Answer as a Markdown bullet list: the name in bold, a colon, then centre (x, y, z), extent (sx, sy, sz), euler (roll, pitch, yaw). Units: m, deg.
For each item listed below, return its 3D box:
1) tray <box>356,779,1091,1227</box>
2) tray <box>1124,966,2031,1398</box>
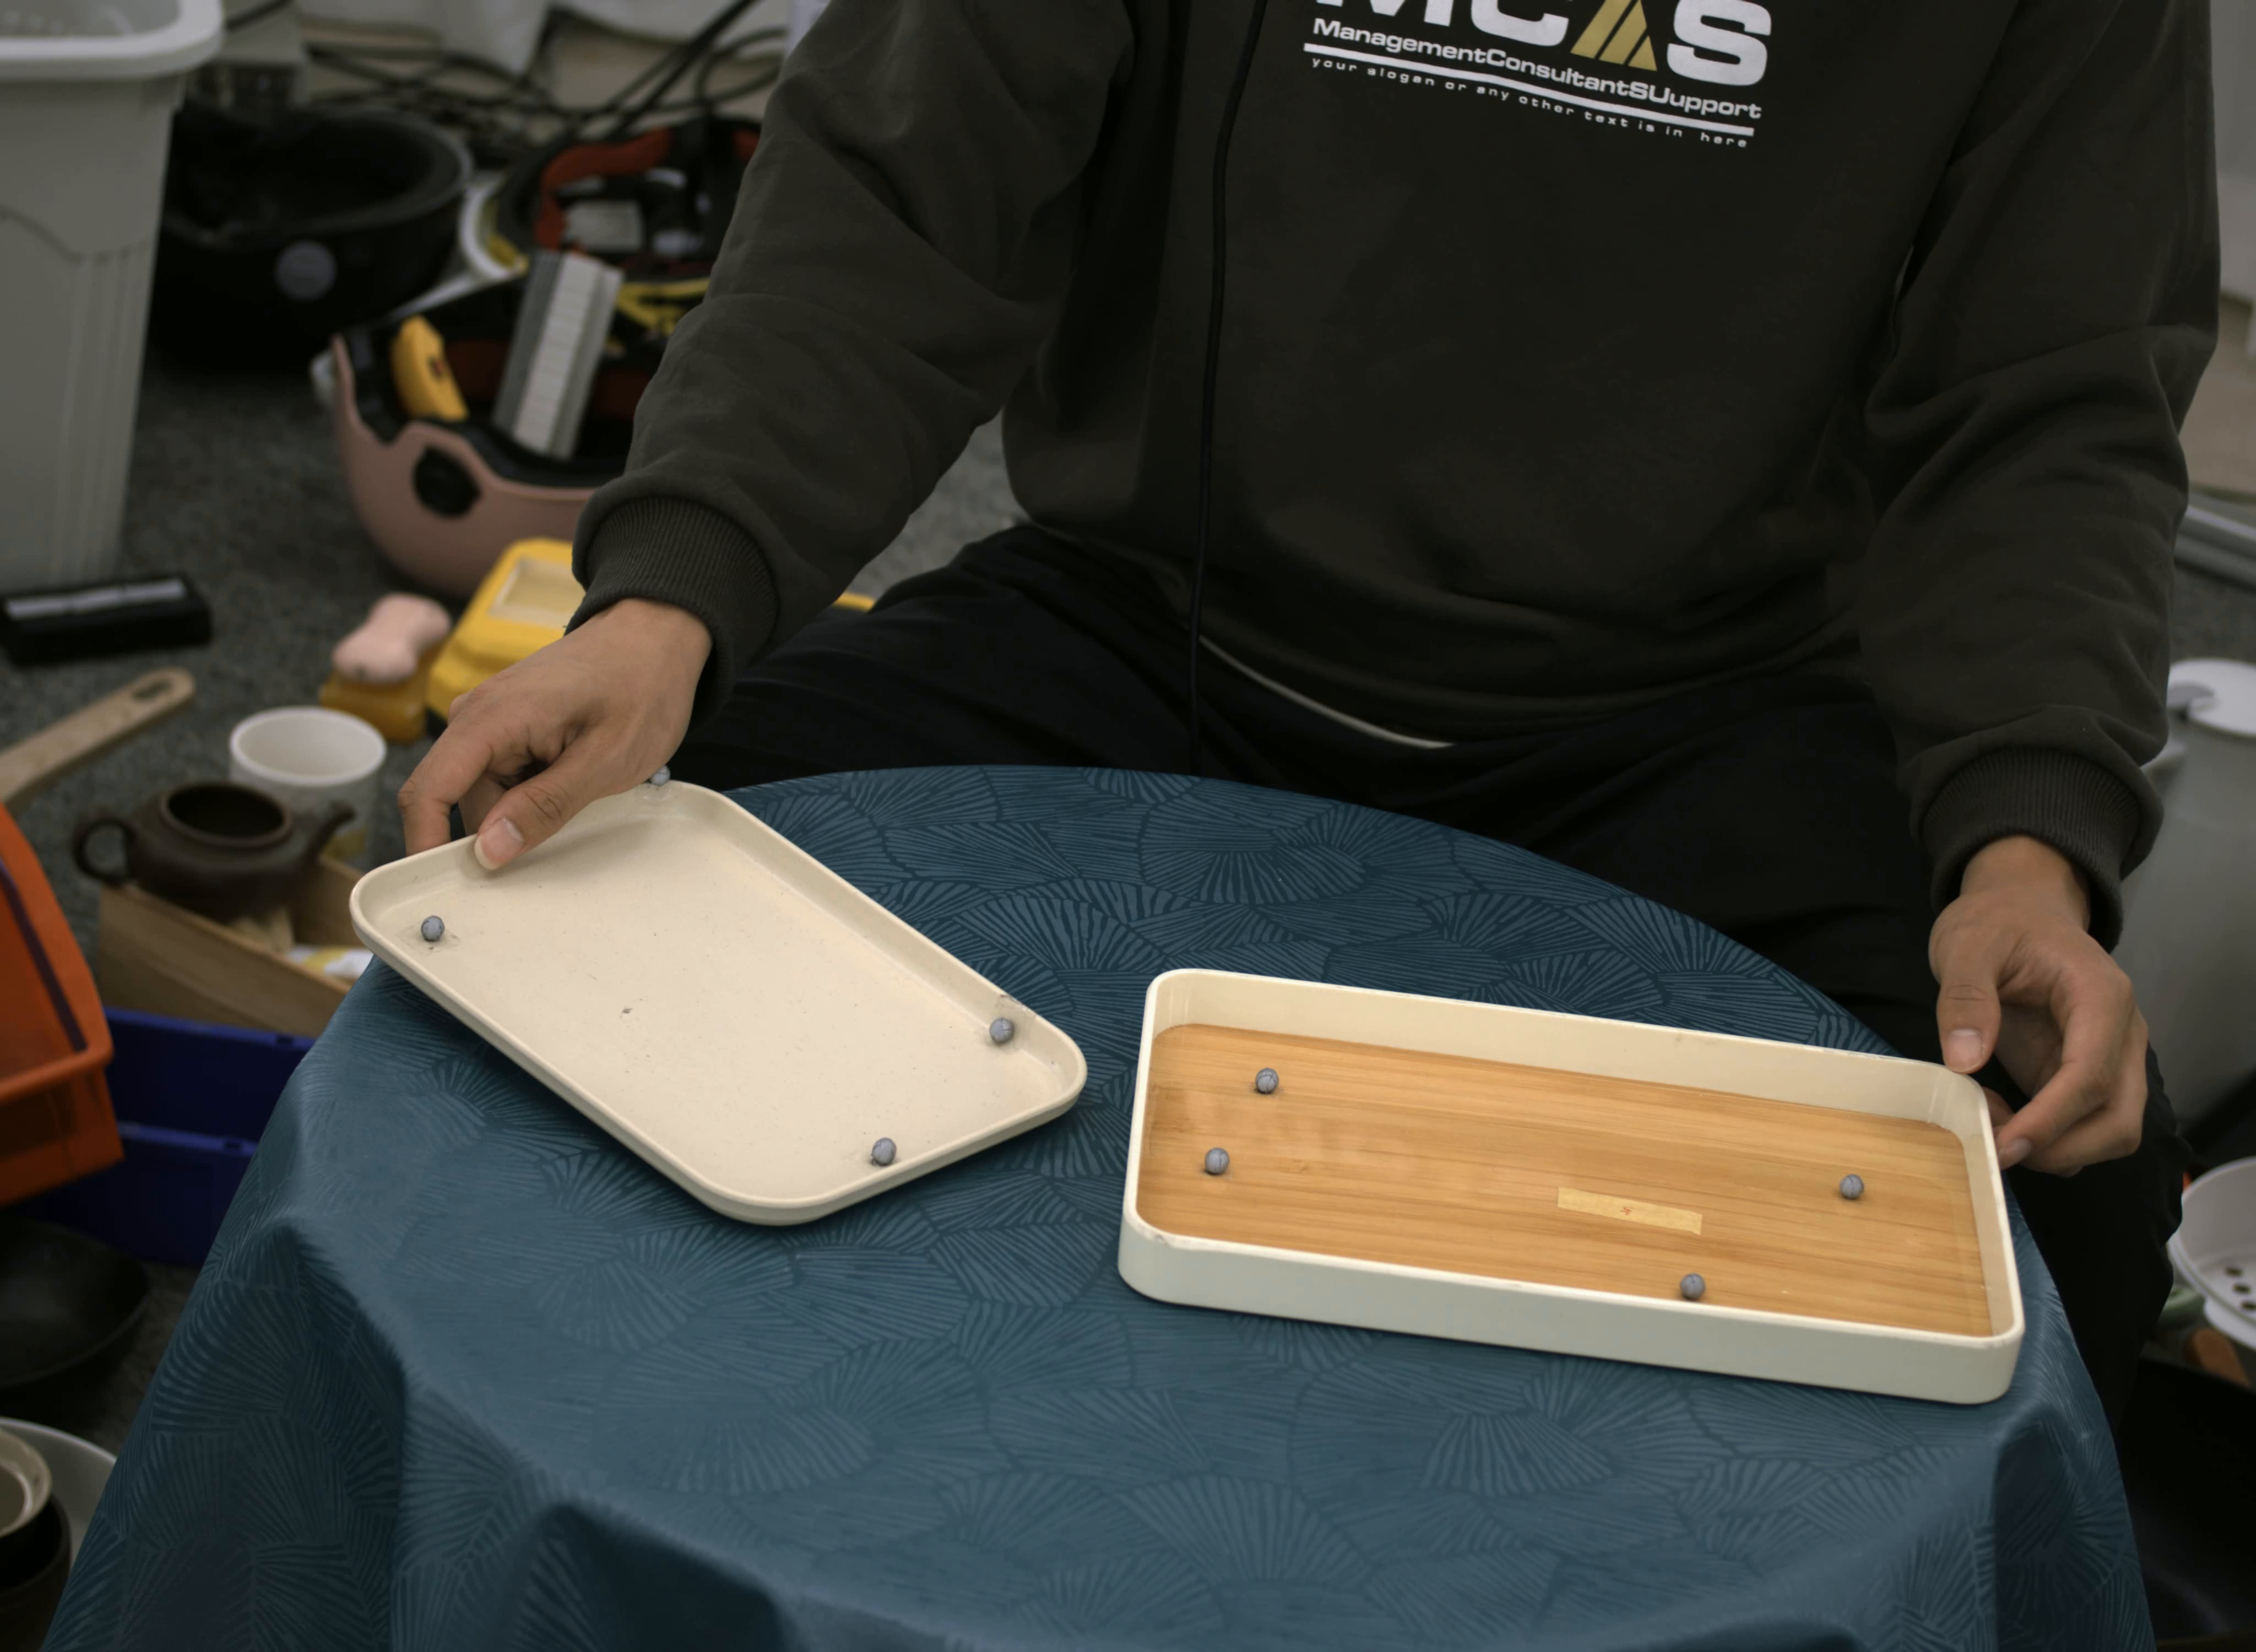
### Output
- **tray**: centre (-0.143, 0.060, 1.860), extent (0.170, 0.017, 0.241), euler (-21, 42, -40)
- **tray**: centre (0.151, 0.120, 1.821), extent (0.299, 0.027, 0.192), euler (7, 26, 0)
